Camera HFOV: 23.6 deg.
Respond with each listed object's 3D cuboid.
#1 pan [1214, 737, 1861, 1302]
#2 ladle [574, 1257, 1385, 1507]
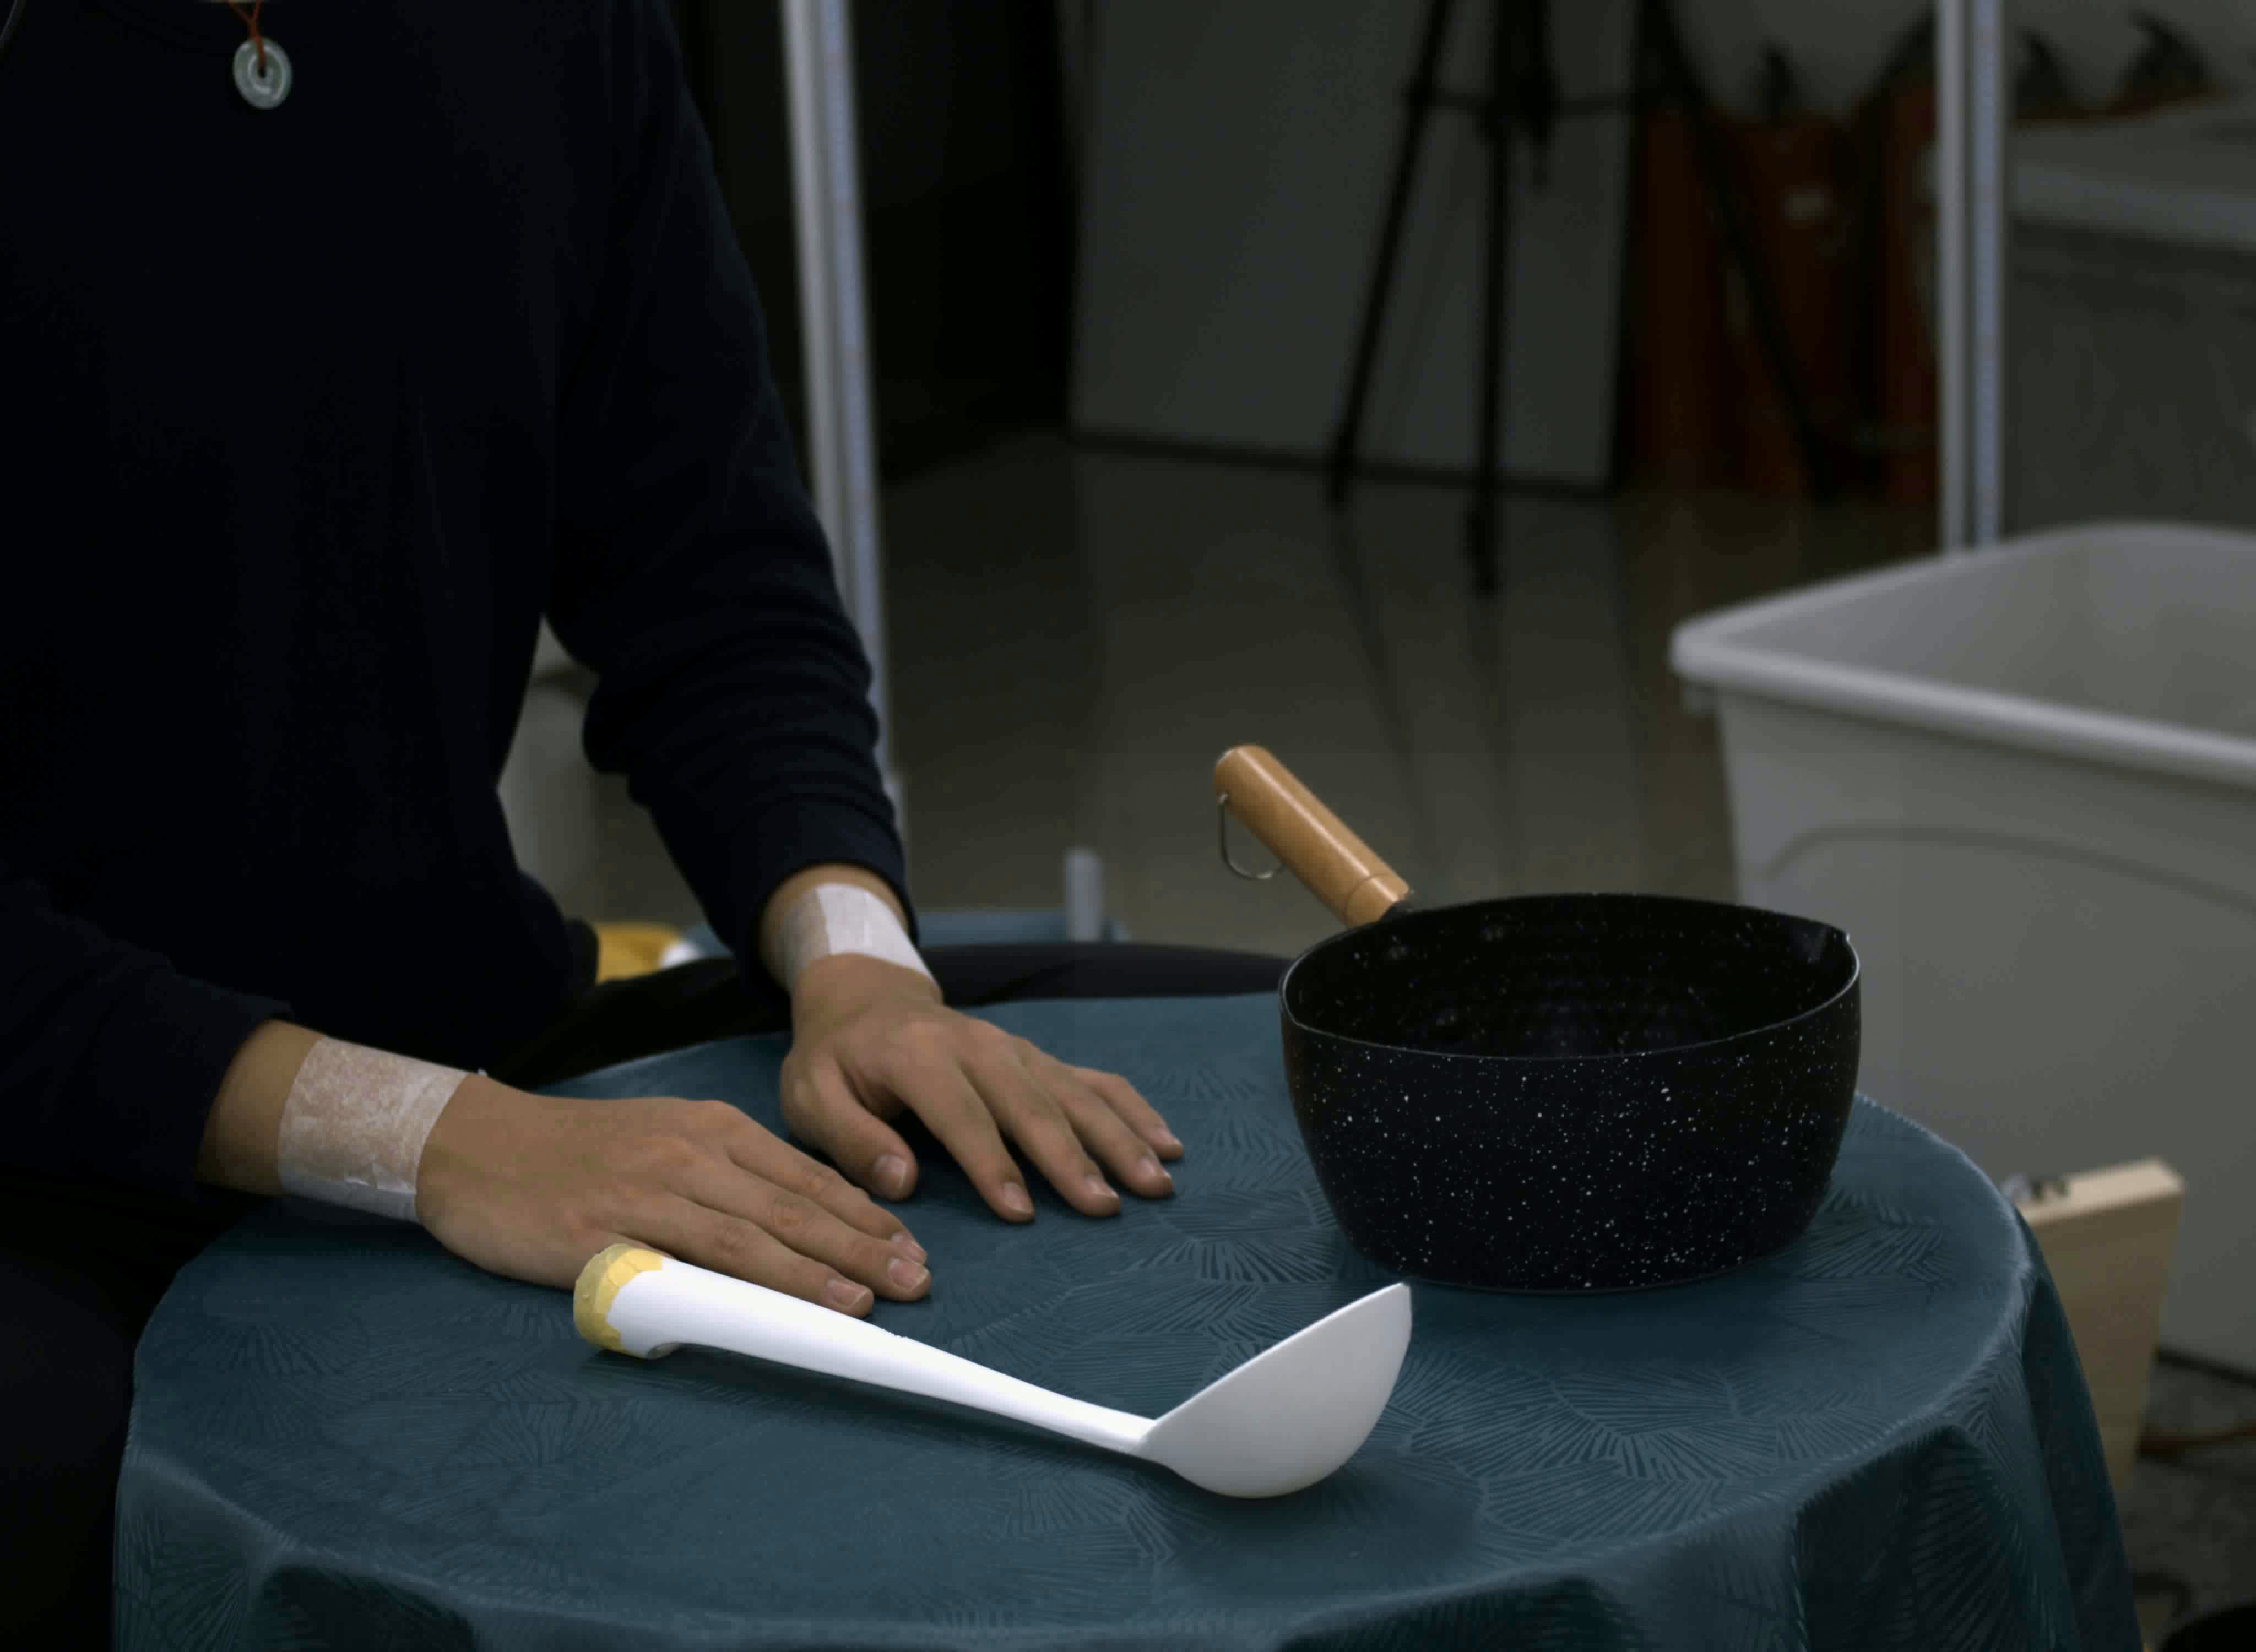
[{"bbox_3d":[0.107,0.058,1.769,0.203,0.109,0.346,-11,17,-22],"label":"pan"},{"bbox_3d":[-0.050,0.146,1.552,0.295,0.070,0.088,6,24,40],"label":"ladle"}]
